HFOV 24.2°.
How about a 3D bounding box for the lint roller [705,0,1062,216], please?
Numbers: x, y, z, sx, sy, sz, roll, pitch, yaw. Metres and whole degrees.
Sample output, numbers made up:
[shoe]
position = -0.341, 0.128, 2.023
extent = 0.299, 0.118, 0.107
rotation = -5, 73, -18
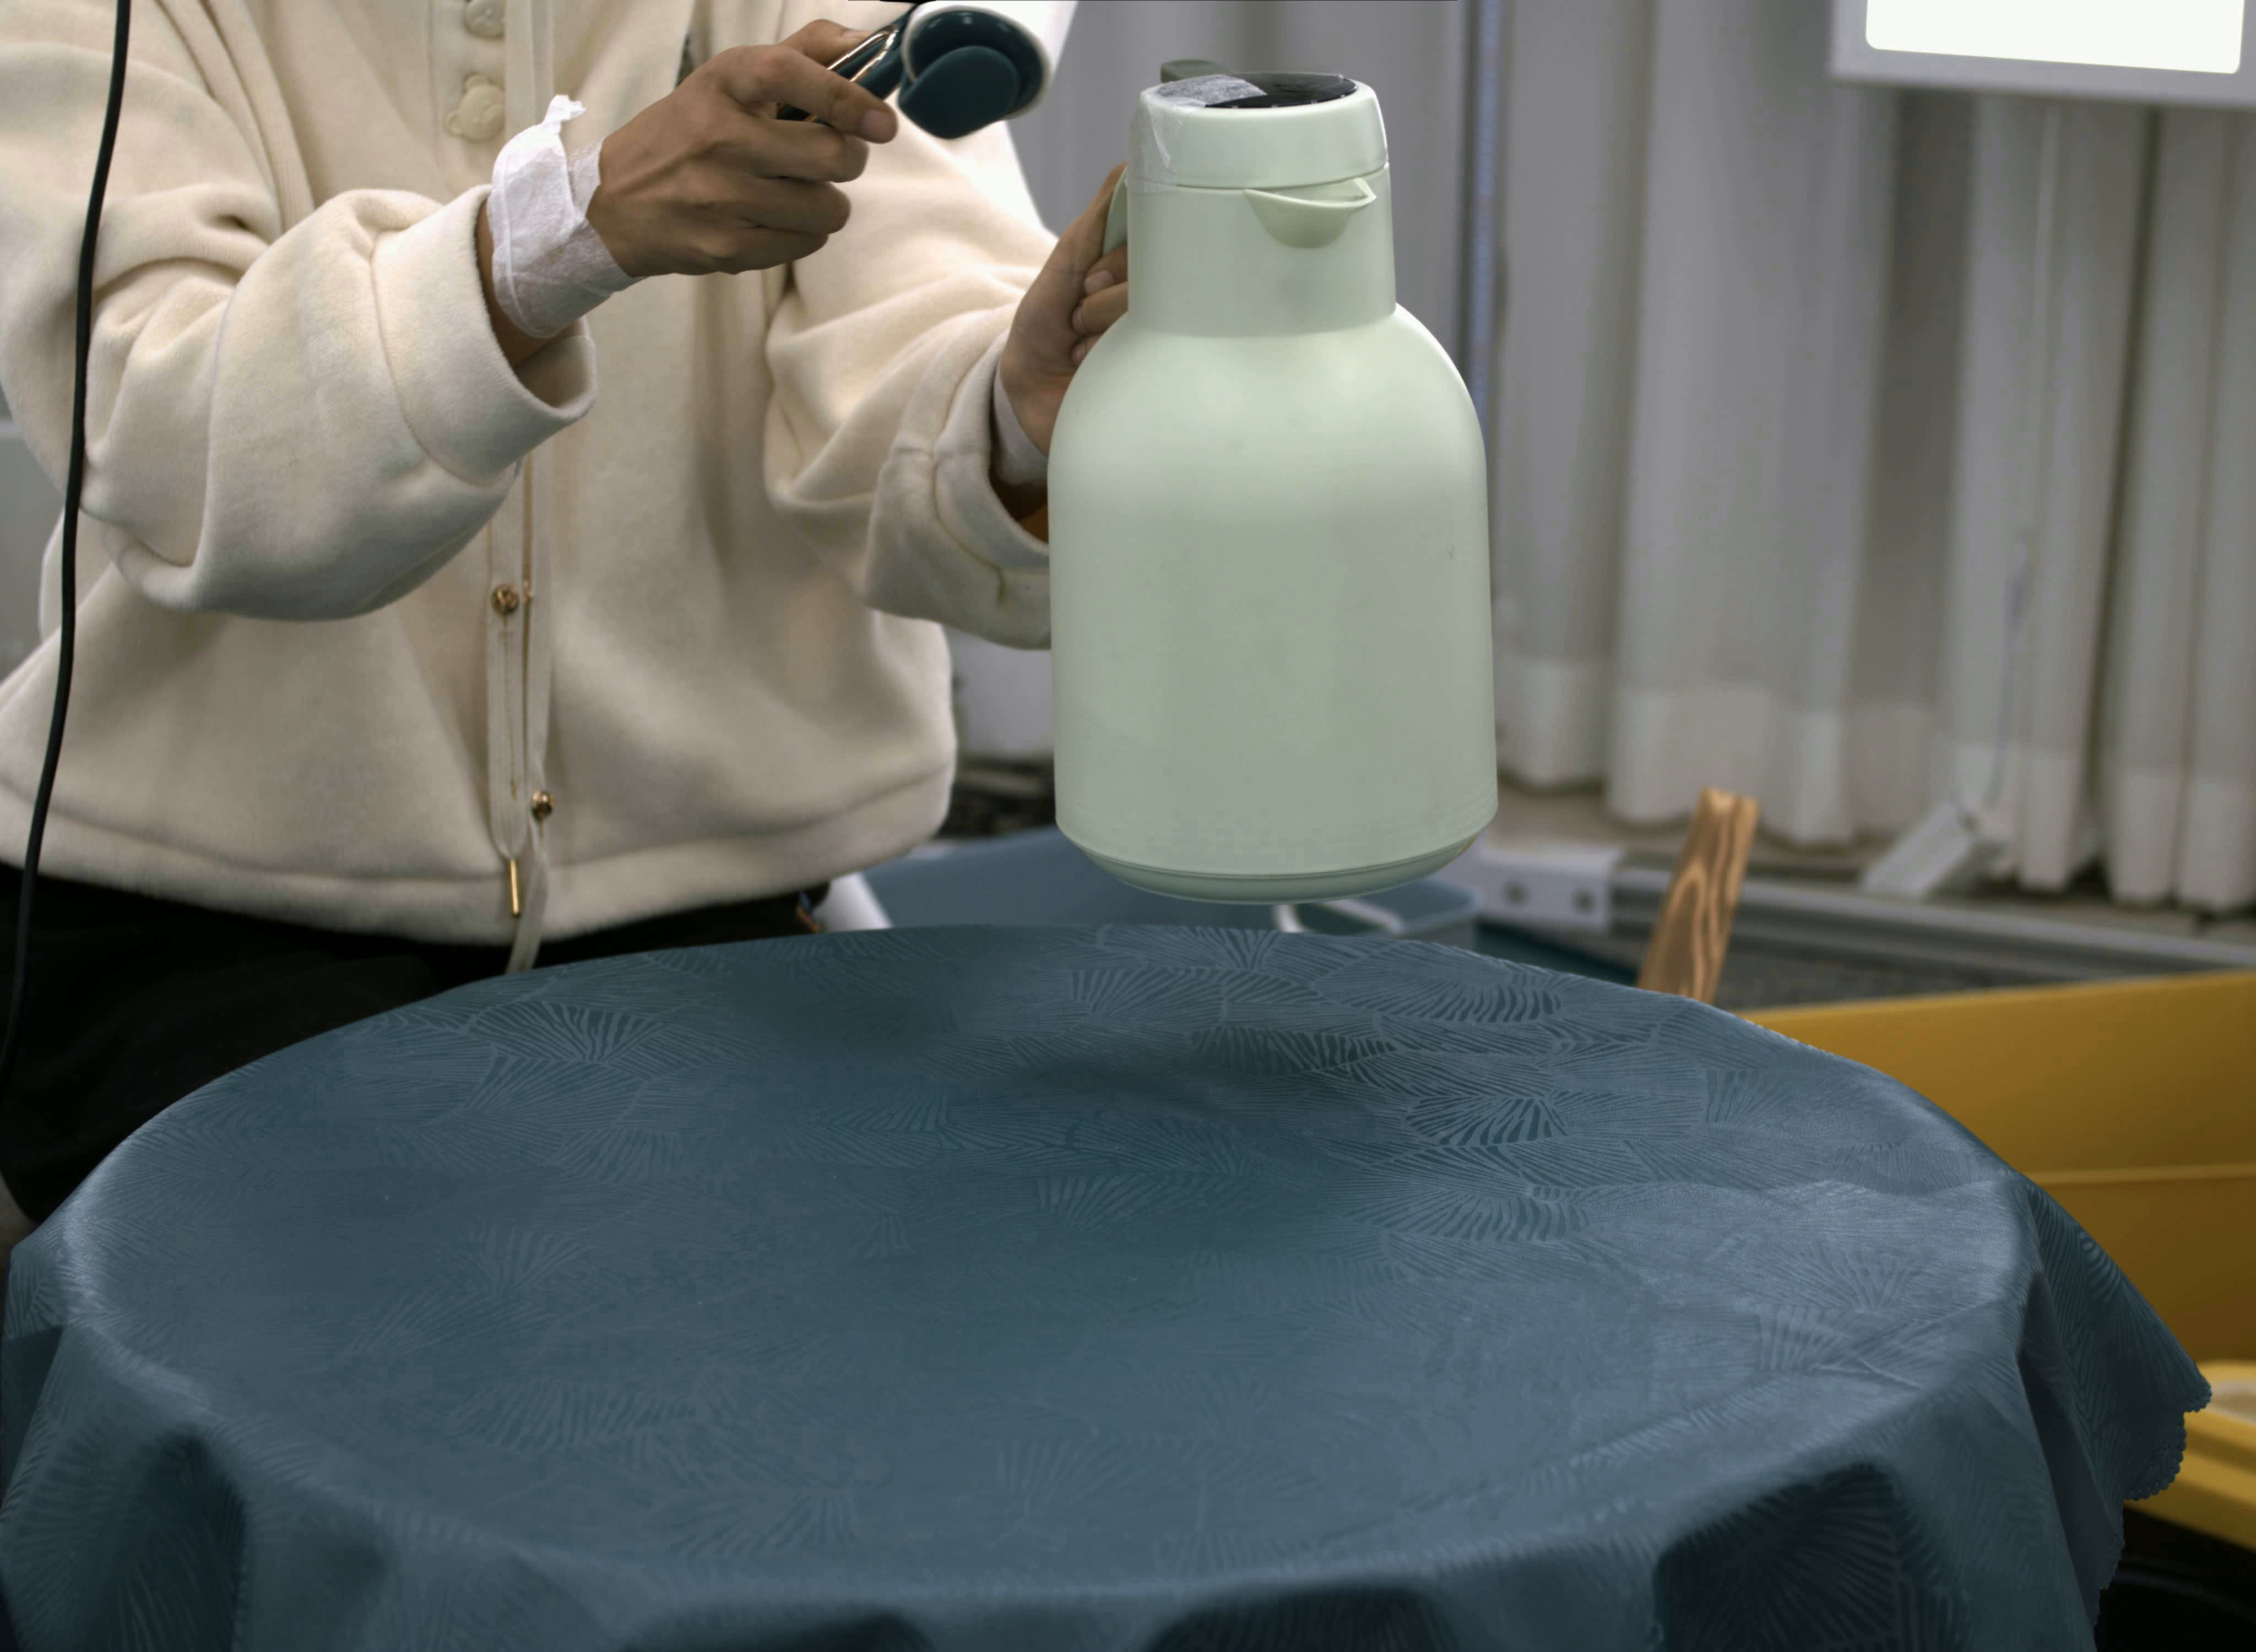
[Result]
[lint roller]
position = -0.087, -0.248, 1.666
extent = 0.179, 0.049, 0.133
rotation = -24, 36, 38

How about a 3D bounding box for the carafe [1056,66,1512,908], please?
[carafe]
position = 0.042, -0.115, 1.704
extent = 0.144, 0.259, 0.185
rotation = -10, 16, -19
